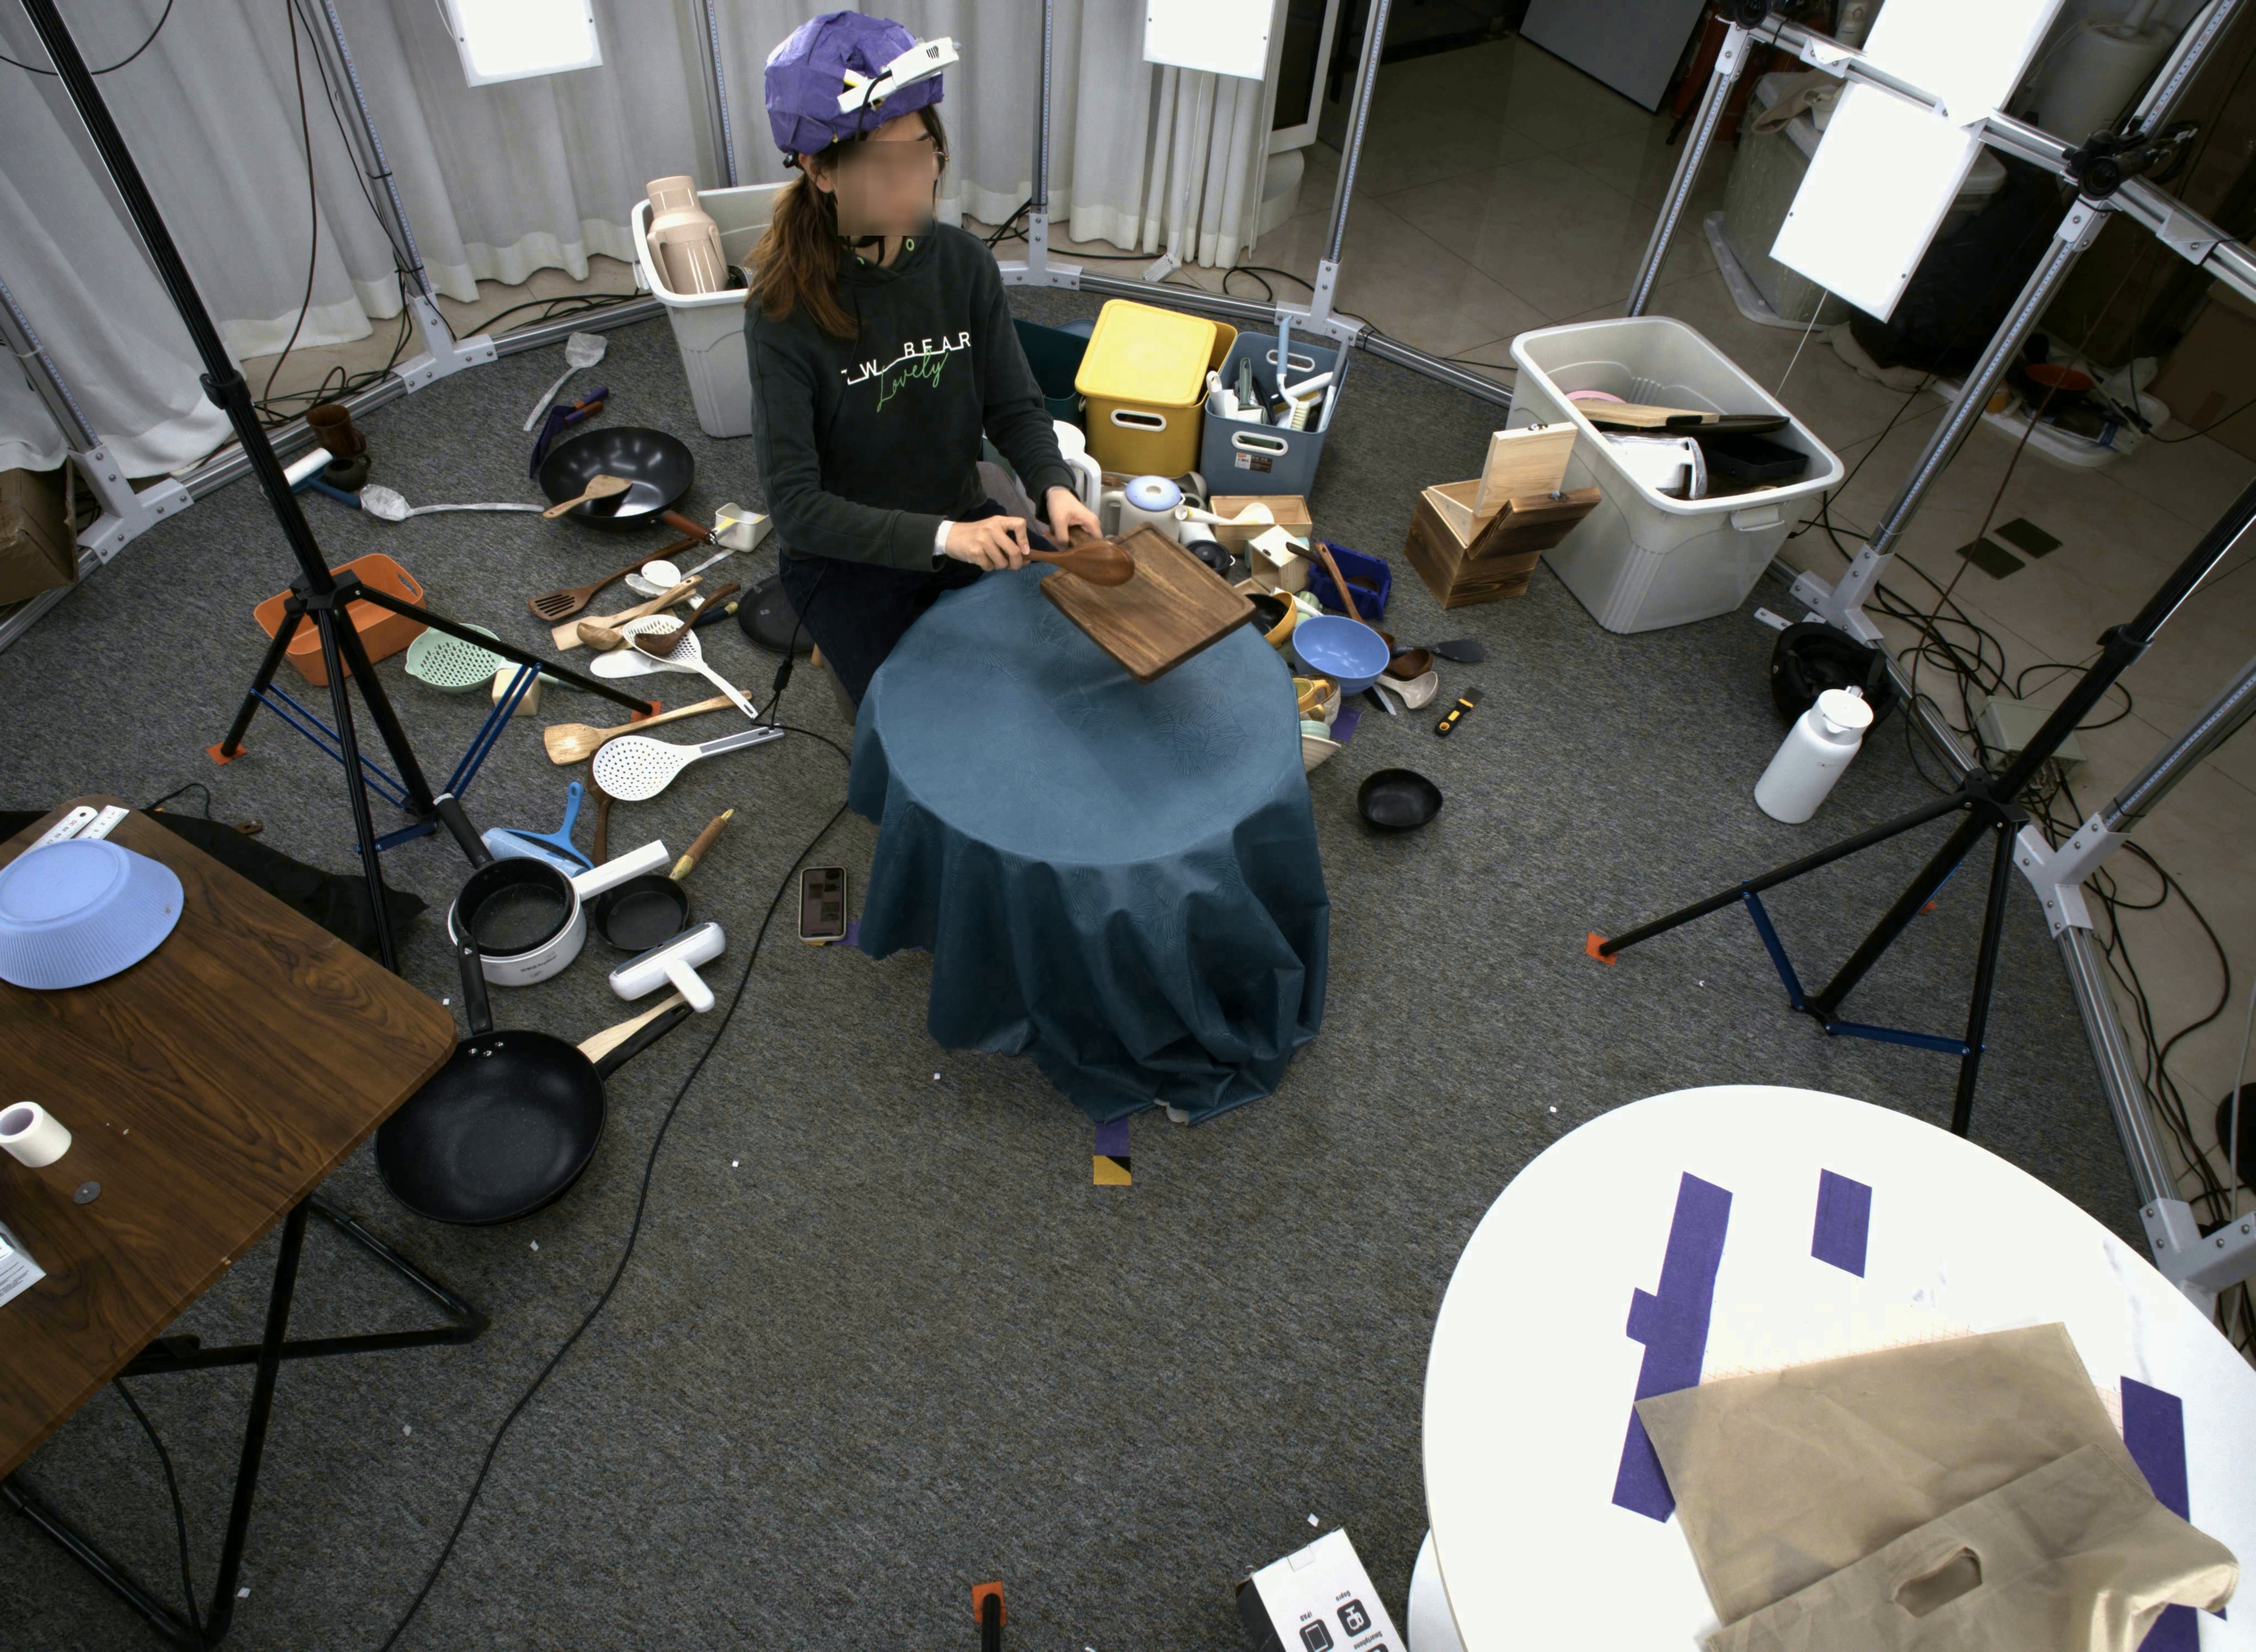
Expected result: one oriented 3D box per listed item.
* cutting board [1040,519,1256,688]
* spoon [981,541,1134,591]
[{"bbox_3d":[-0.003,-0.339,1.802,0.202,0.022,0.359,-33,53,-16],"label":"cutting board"},{"bbox_3d":[-0.097,-0.357,1.743,0.216,0.073,0.017,12,51,12],"label":"spoon"}]
